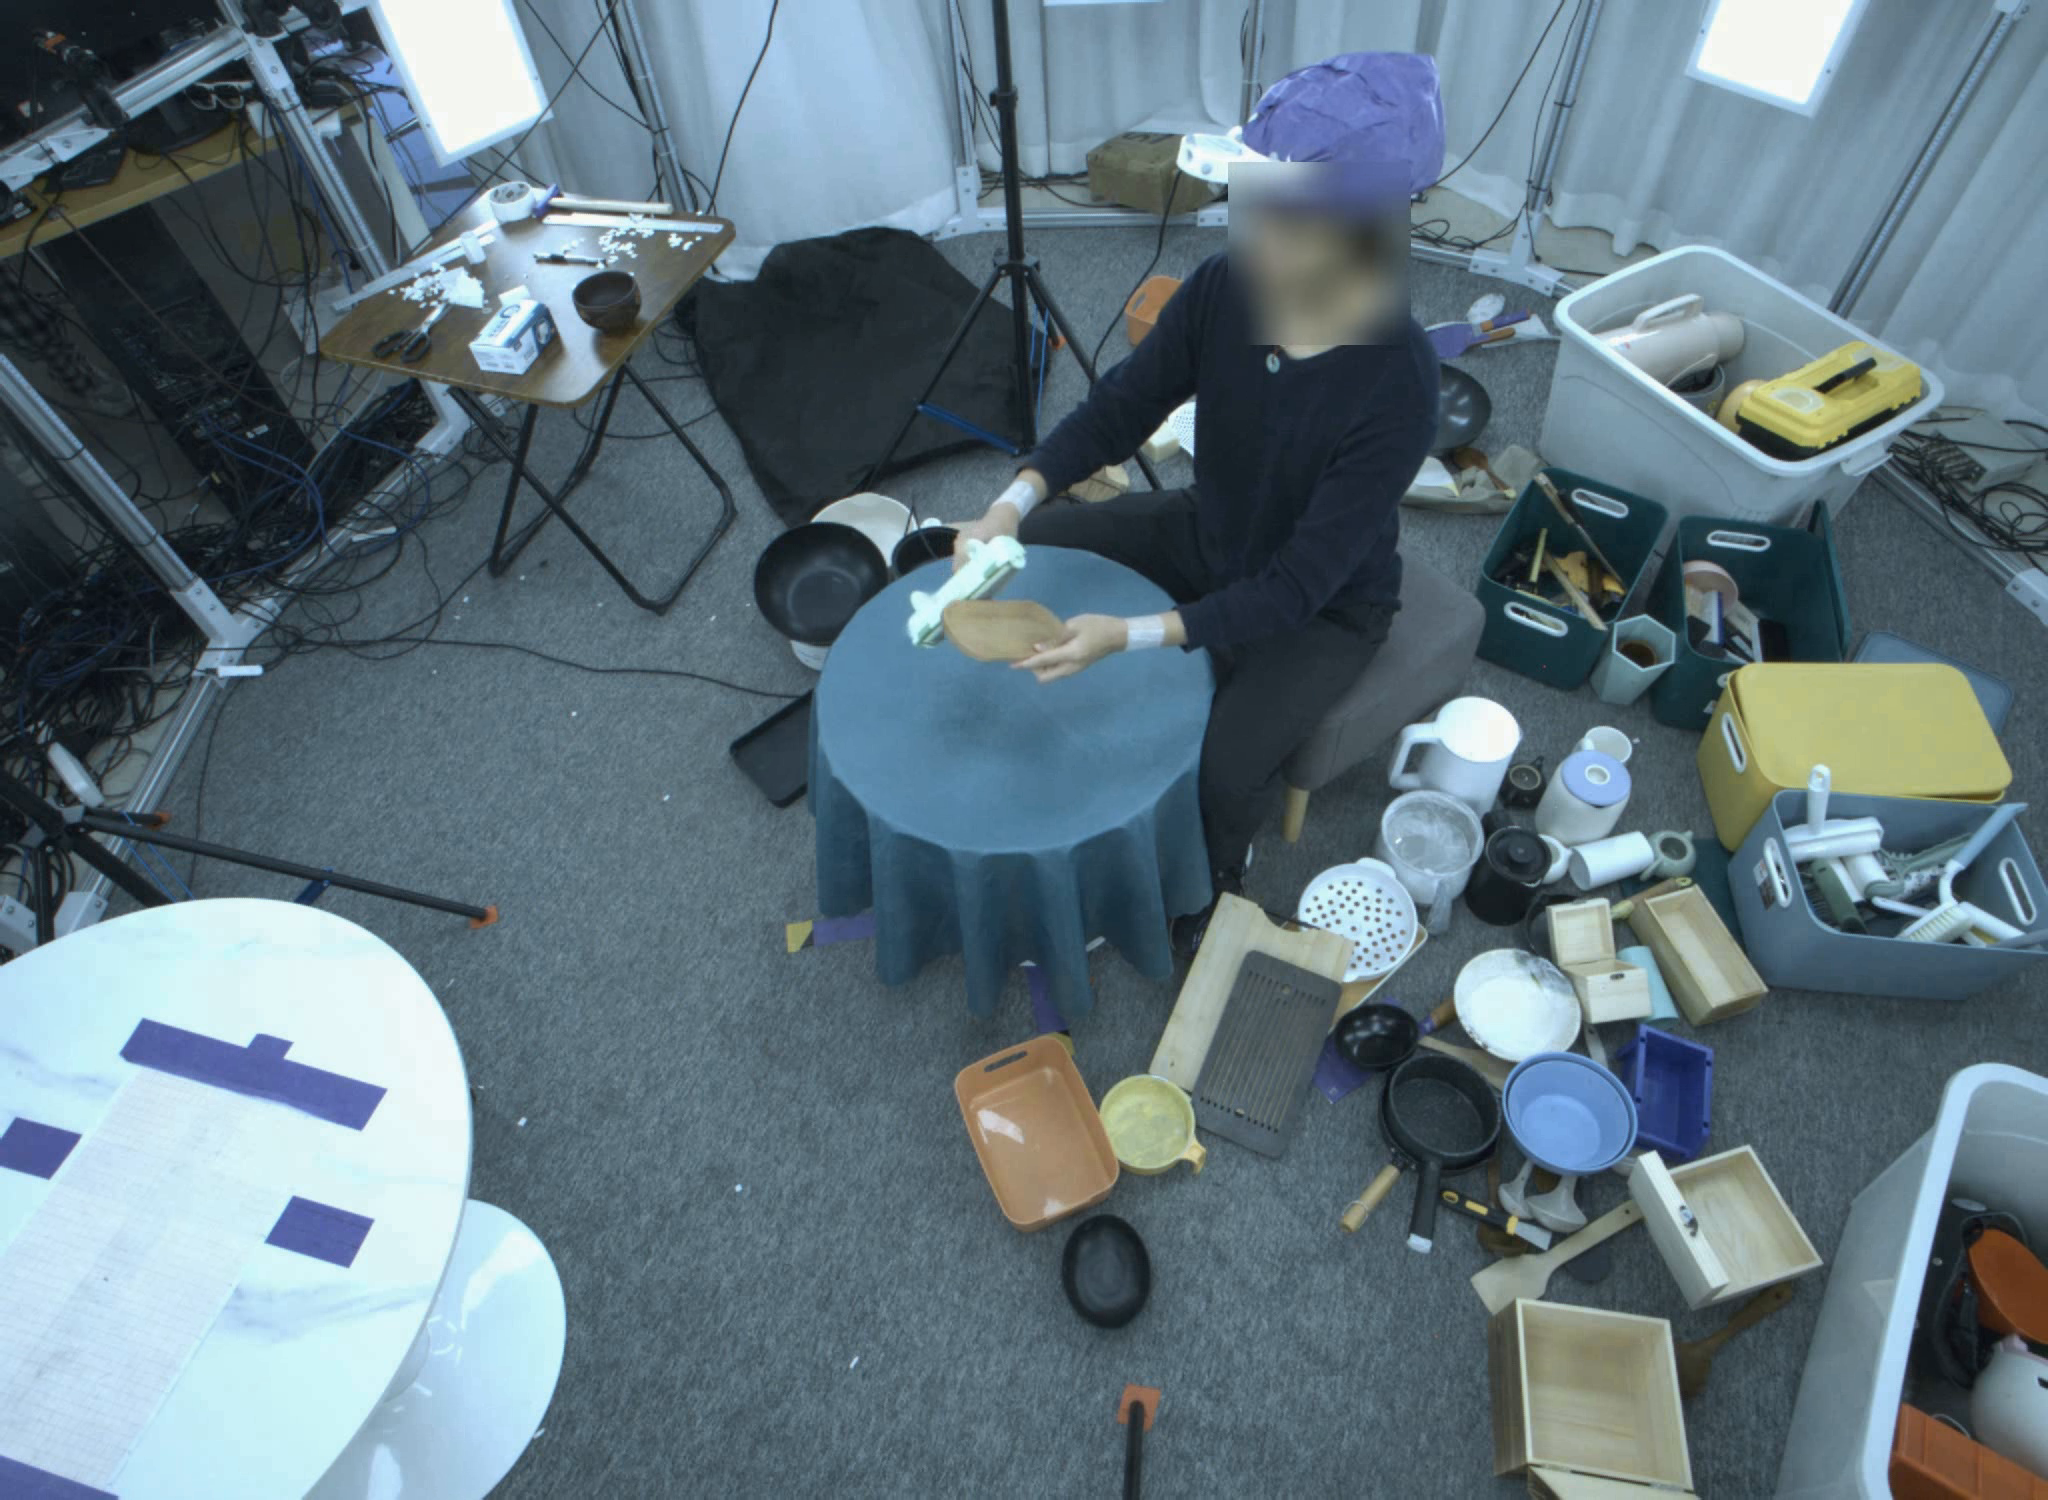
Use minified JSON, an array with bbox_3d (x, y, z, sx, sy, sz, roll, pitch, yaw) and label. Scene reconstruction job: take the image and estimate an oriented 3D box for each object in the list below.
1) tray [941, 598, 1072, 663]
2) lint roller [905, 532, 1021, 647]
[{"bbox_3d":[-0.022,-0.160,1.647,0.236,0.020,0.100,-6,61,-50],"label":"tray"},{"bbox_3d":[-0.089,-0.255,1.686,0.084,0.197,0.181,34,35,-27],"label":"lint roller"}]
